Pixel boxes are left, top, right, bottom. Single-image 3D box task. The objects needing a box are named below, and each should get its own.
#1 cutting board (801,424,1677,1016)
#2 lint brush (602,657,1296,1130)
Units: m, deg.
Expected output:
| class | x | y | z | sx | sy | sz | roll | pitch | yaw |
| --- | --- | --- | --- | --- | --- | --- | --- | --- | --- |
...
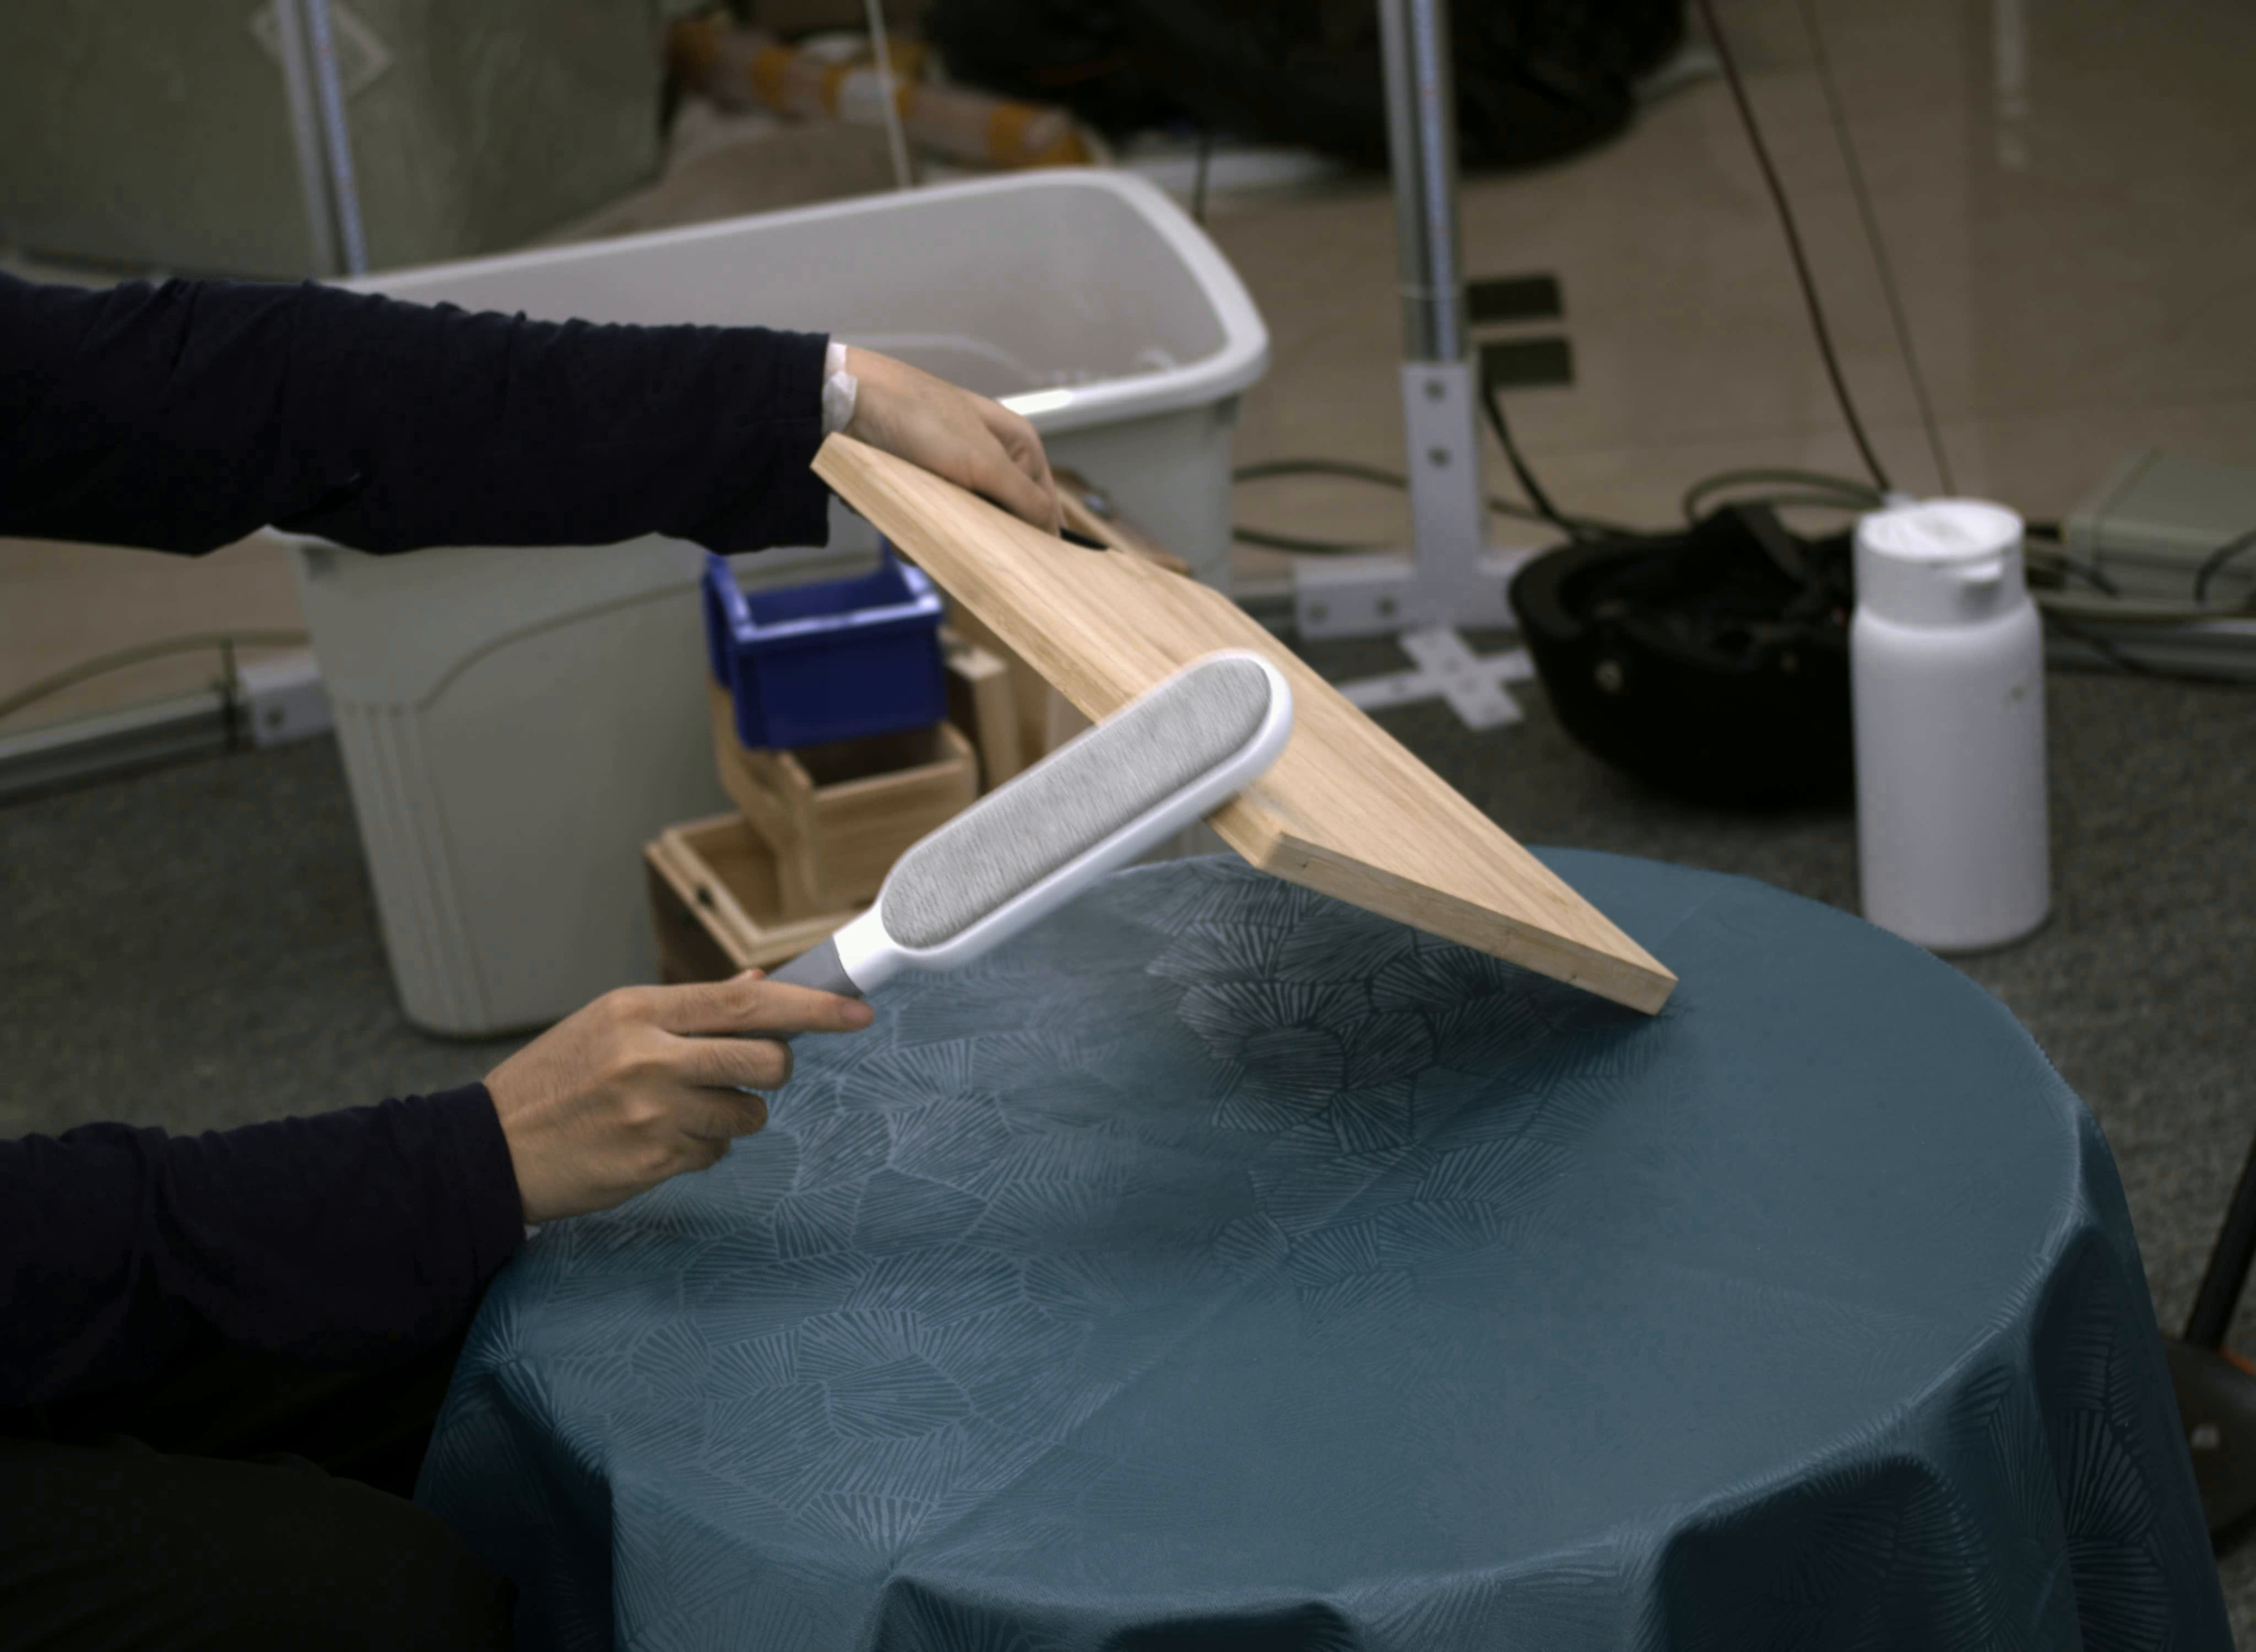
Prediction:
| class | x | y | z | sx | sy | sz | roll | pitch | yaw |
| --- | --- | --- | --- | --- | --- | --- | --- | --- | --- |
| cutting board | 0.041 | -0.045 | 2.272 | 0.252 | 0.024 | 0.344 | 20 | 16 | -45 |
| lint brush | -0.069 | 0.028 | 2.118 | 0.310 | 0.021 | 0.059 | -32 | 53 | 13 |
